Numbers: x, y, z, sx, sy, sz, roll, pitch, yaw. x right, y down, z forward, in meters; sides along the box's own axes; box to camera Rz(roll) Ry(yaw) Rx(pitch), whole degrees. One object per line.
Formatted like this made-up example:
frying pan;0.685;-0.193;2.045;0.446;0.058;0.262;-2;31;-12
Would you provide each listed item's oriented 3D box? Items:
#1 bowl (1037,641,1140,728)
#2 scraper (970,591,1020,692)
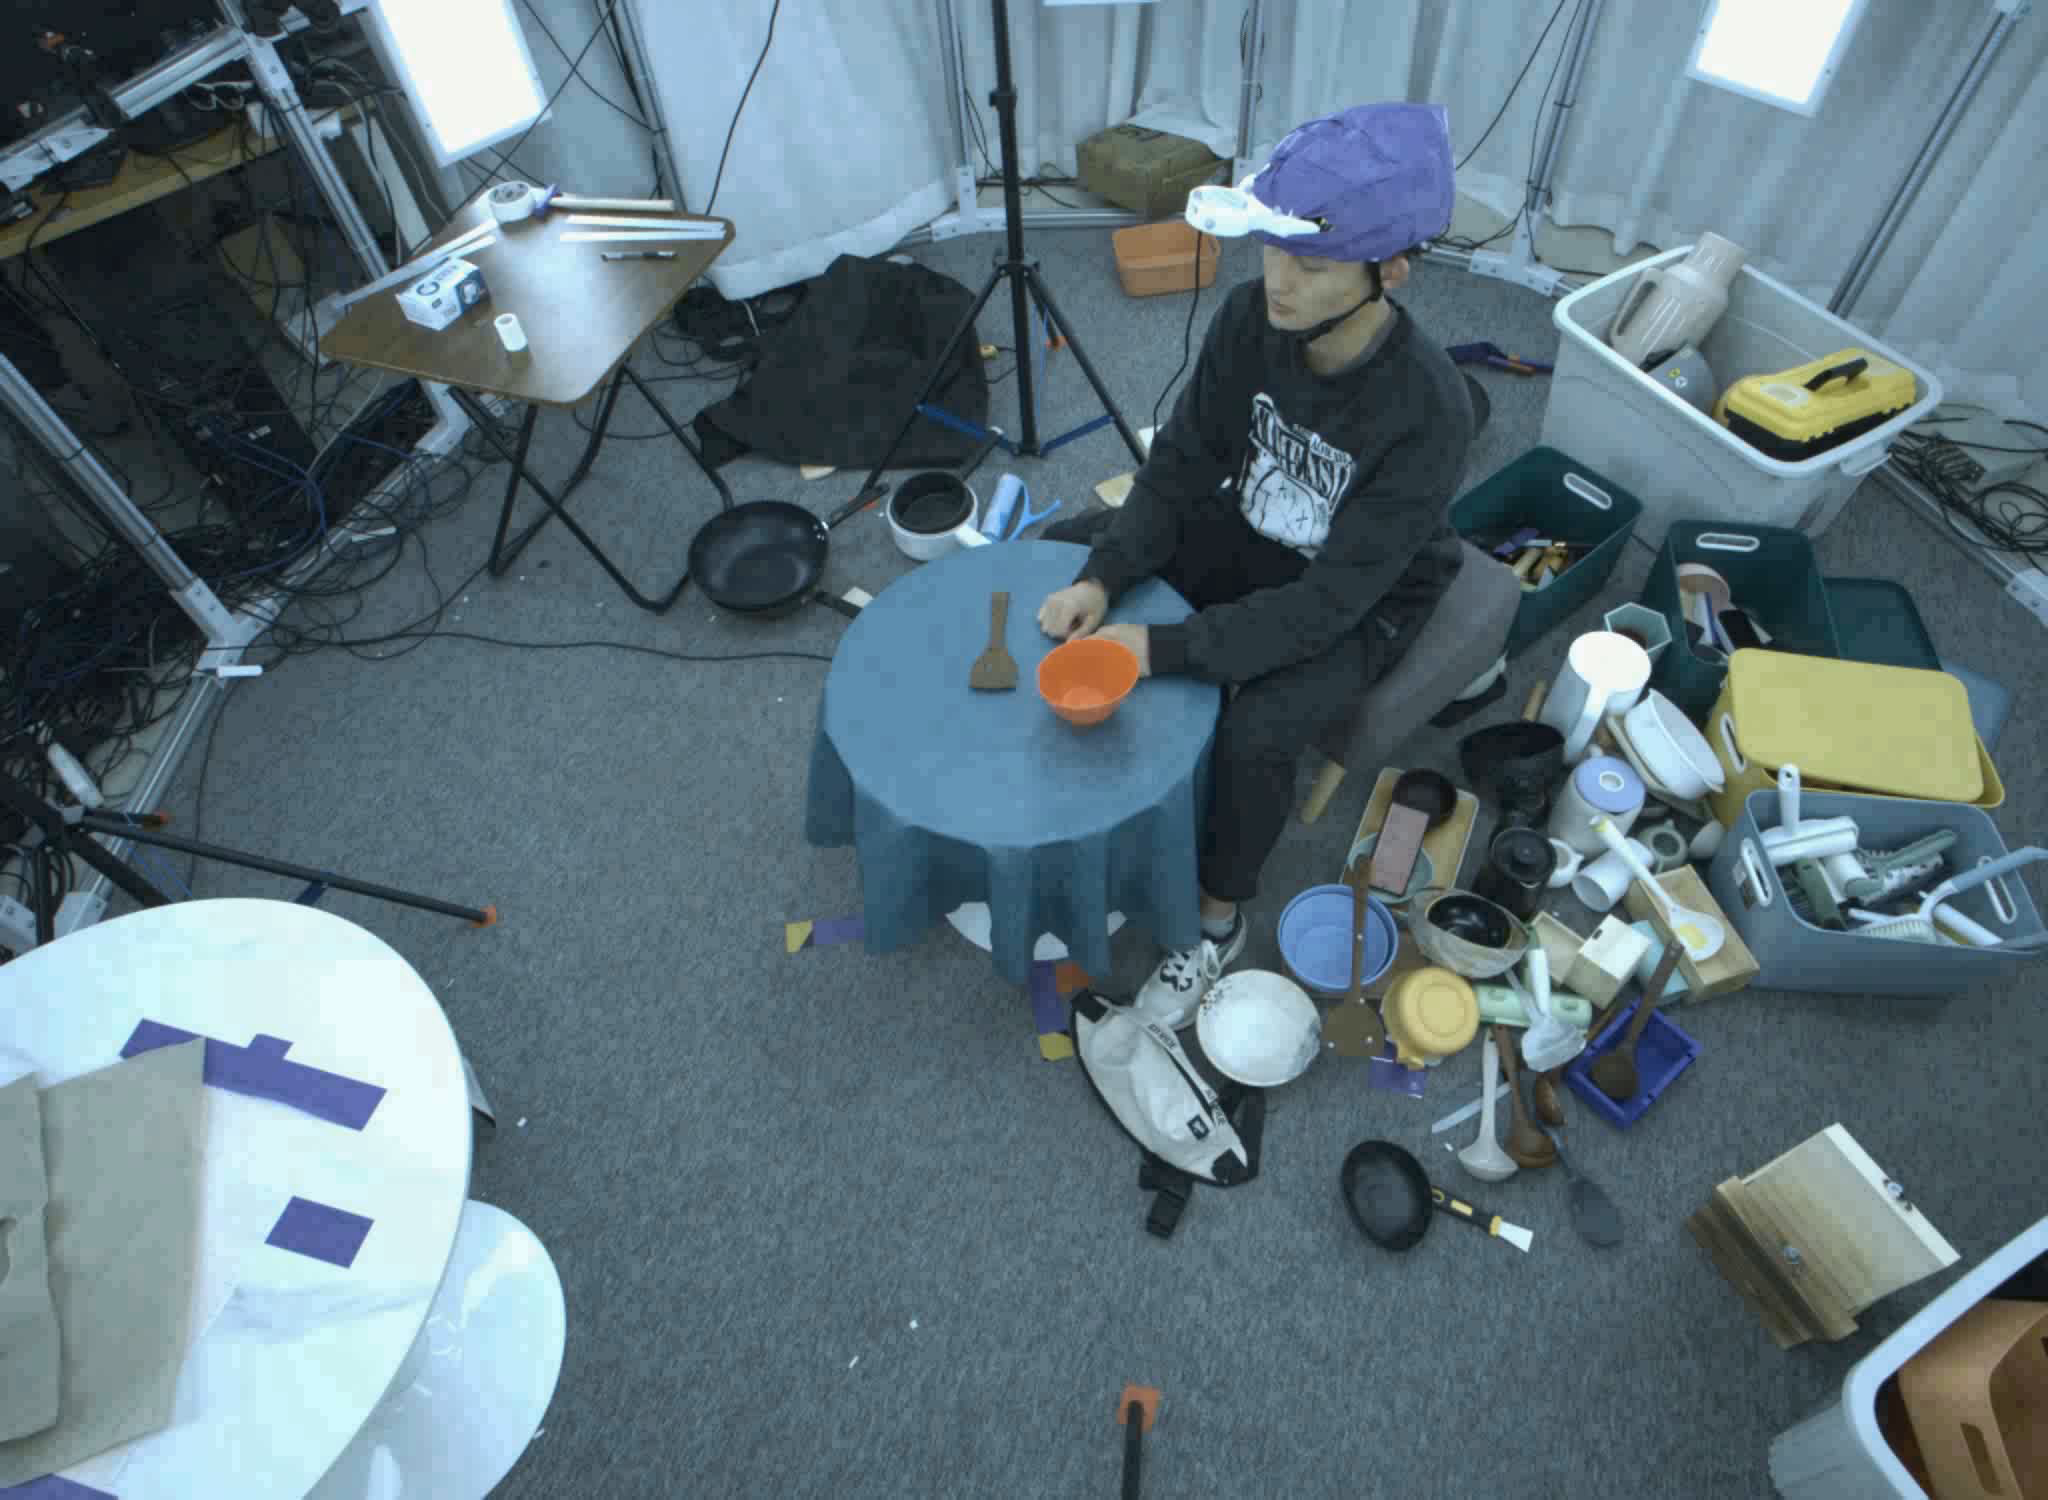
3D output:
bowl;0.093;-0.081;1.790;0.148;0.106;0.146;-1;55;2
scraper;-0.041;-0.171;1.914;0.076;0.011;0.209;2;54;2
